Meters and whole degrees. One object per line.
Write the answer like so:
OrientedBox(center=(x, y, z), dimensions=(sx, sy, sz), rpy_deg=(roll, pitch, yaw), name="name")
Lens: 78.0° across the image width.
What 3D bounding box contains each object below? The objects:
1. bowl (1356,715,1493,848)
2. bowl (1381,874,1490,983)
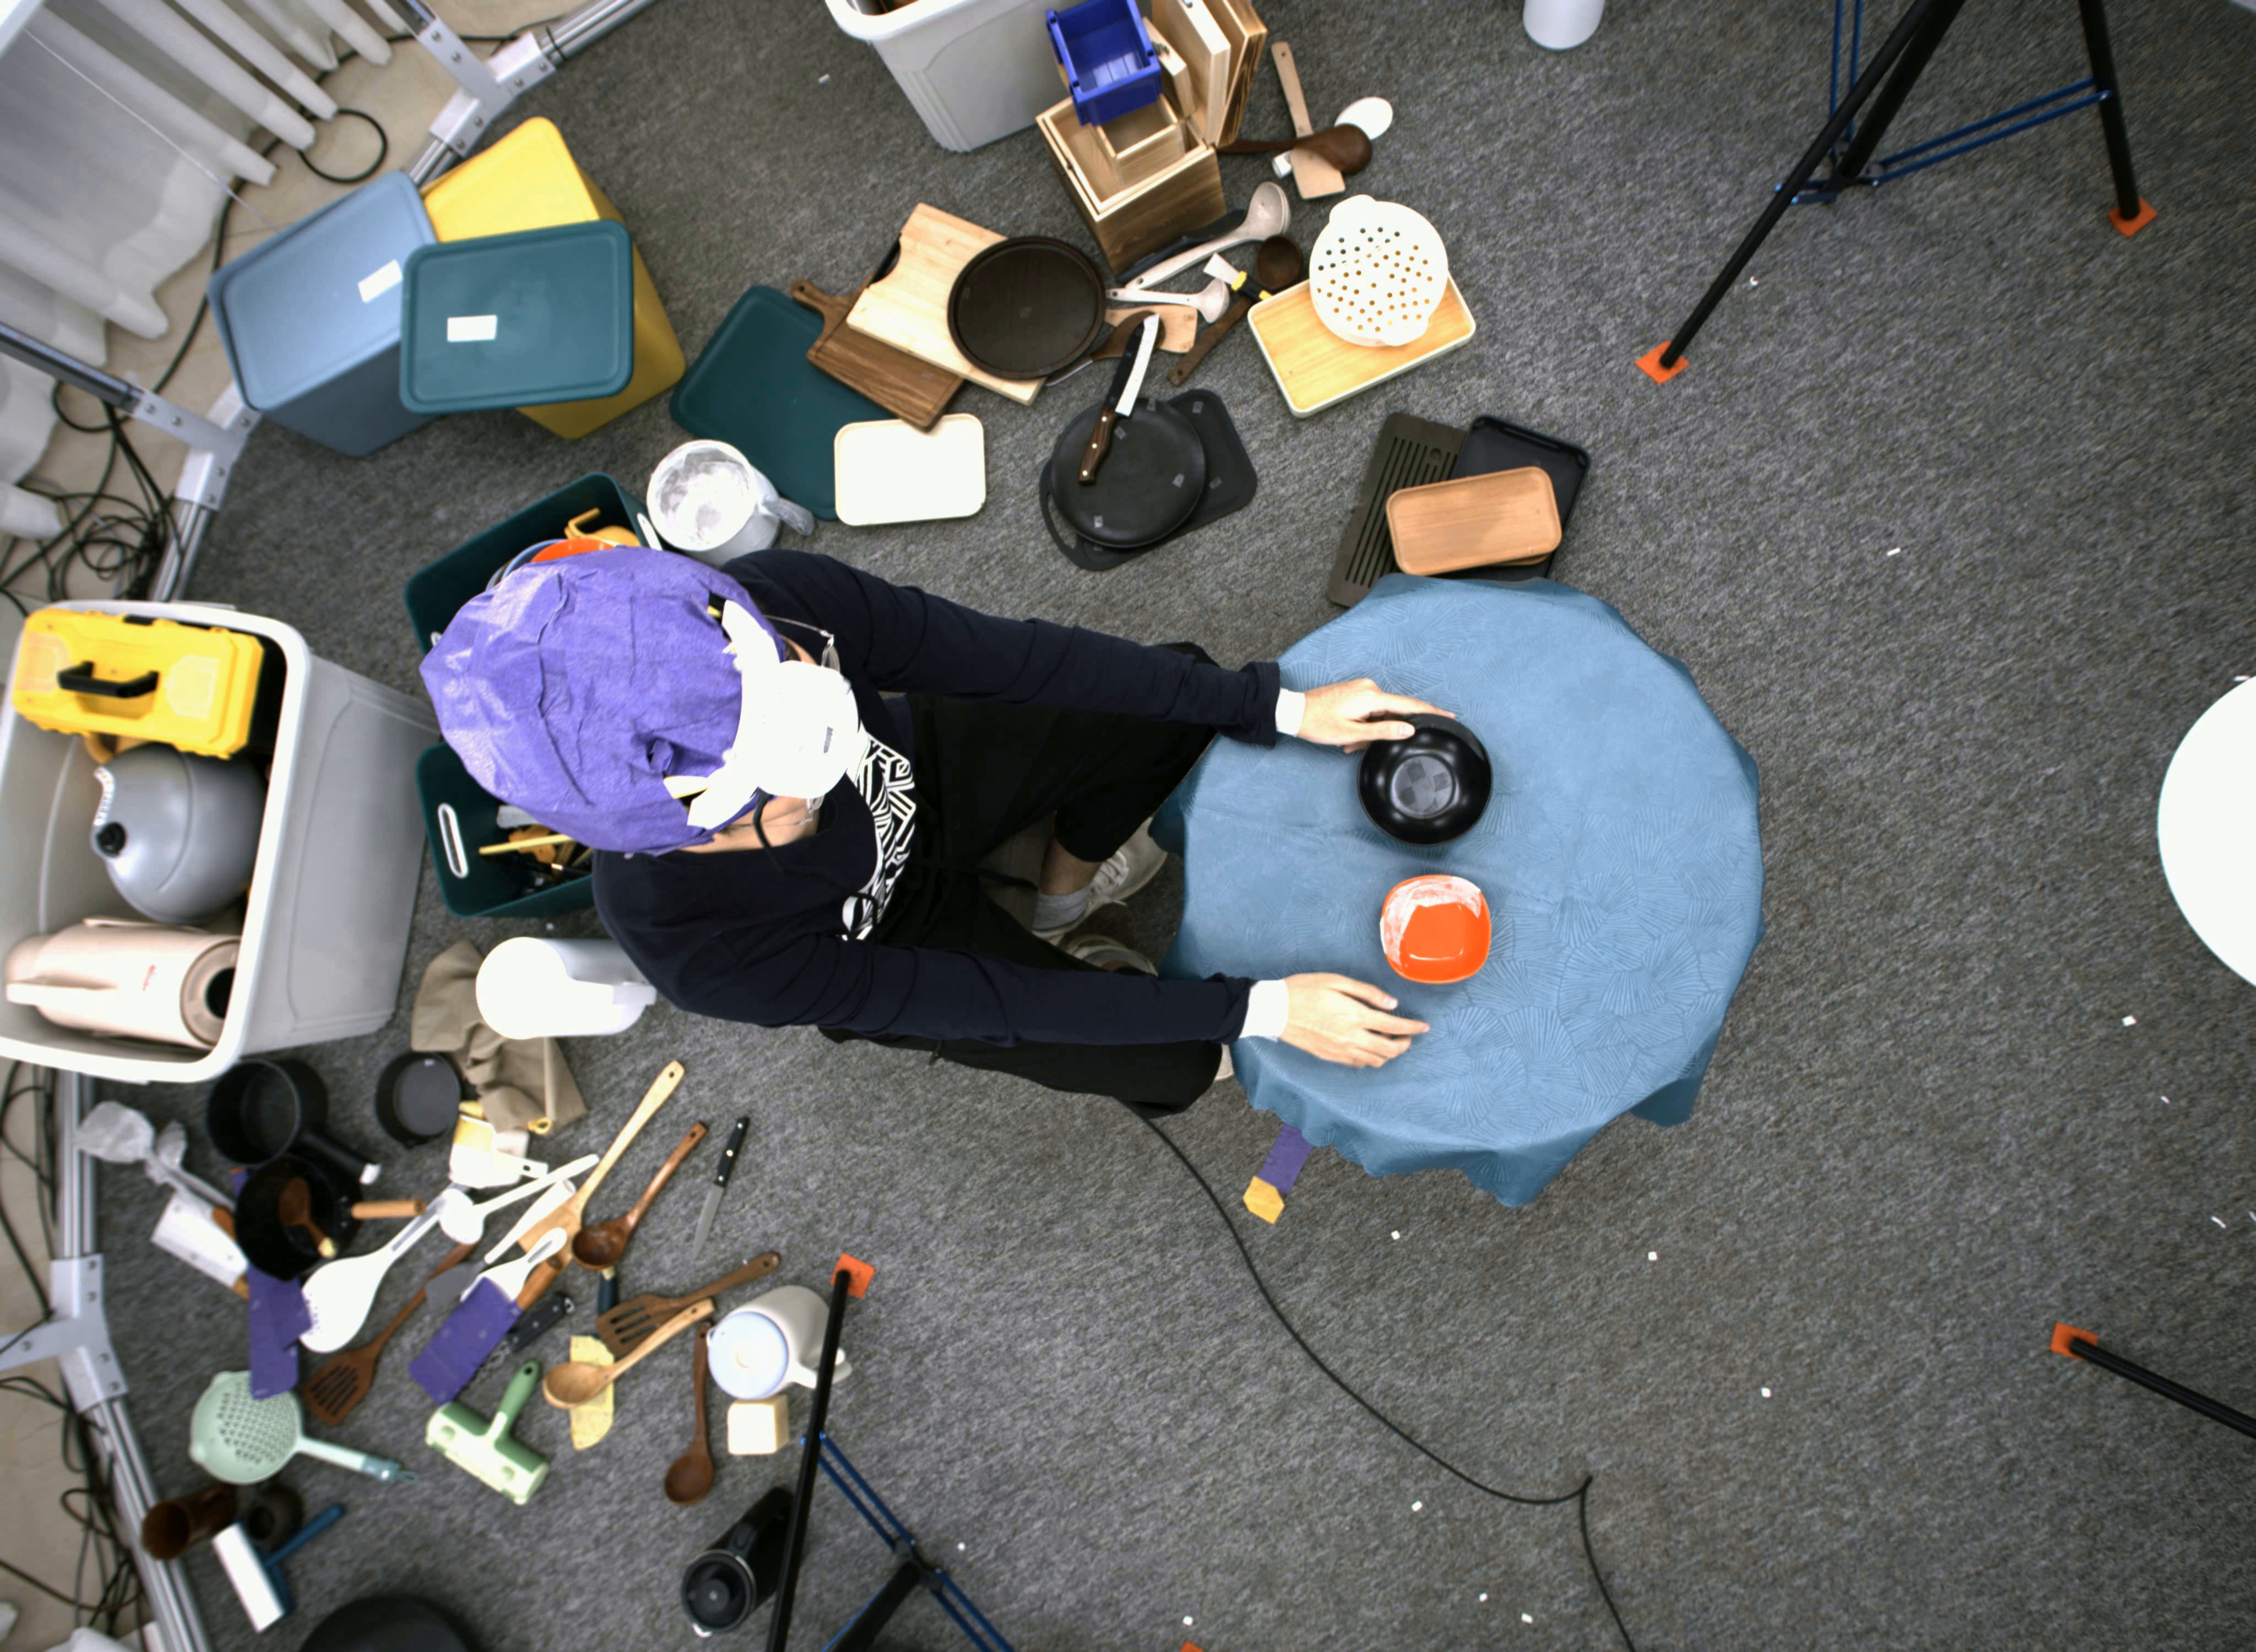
OrientedBox(center=(0.309, -0.046, 1.437), dimensions=(0.141, 0.050, 0.139), rpy_deg=(-1, 86, 14), name="bowl")
OrientedBox(center=(0.316, 0.104, 1.423), dimensions=(0.119, 0.051, 0.118), rpy_deg=(-1, 87, 10), name="bowl")
